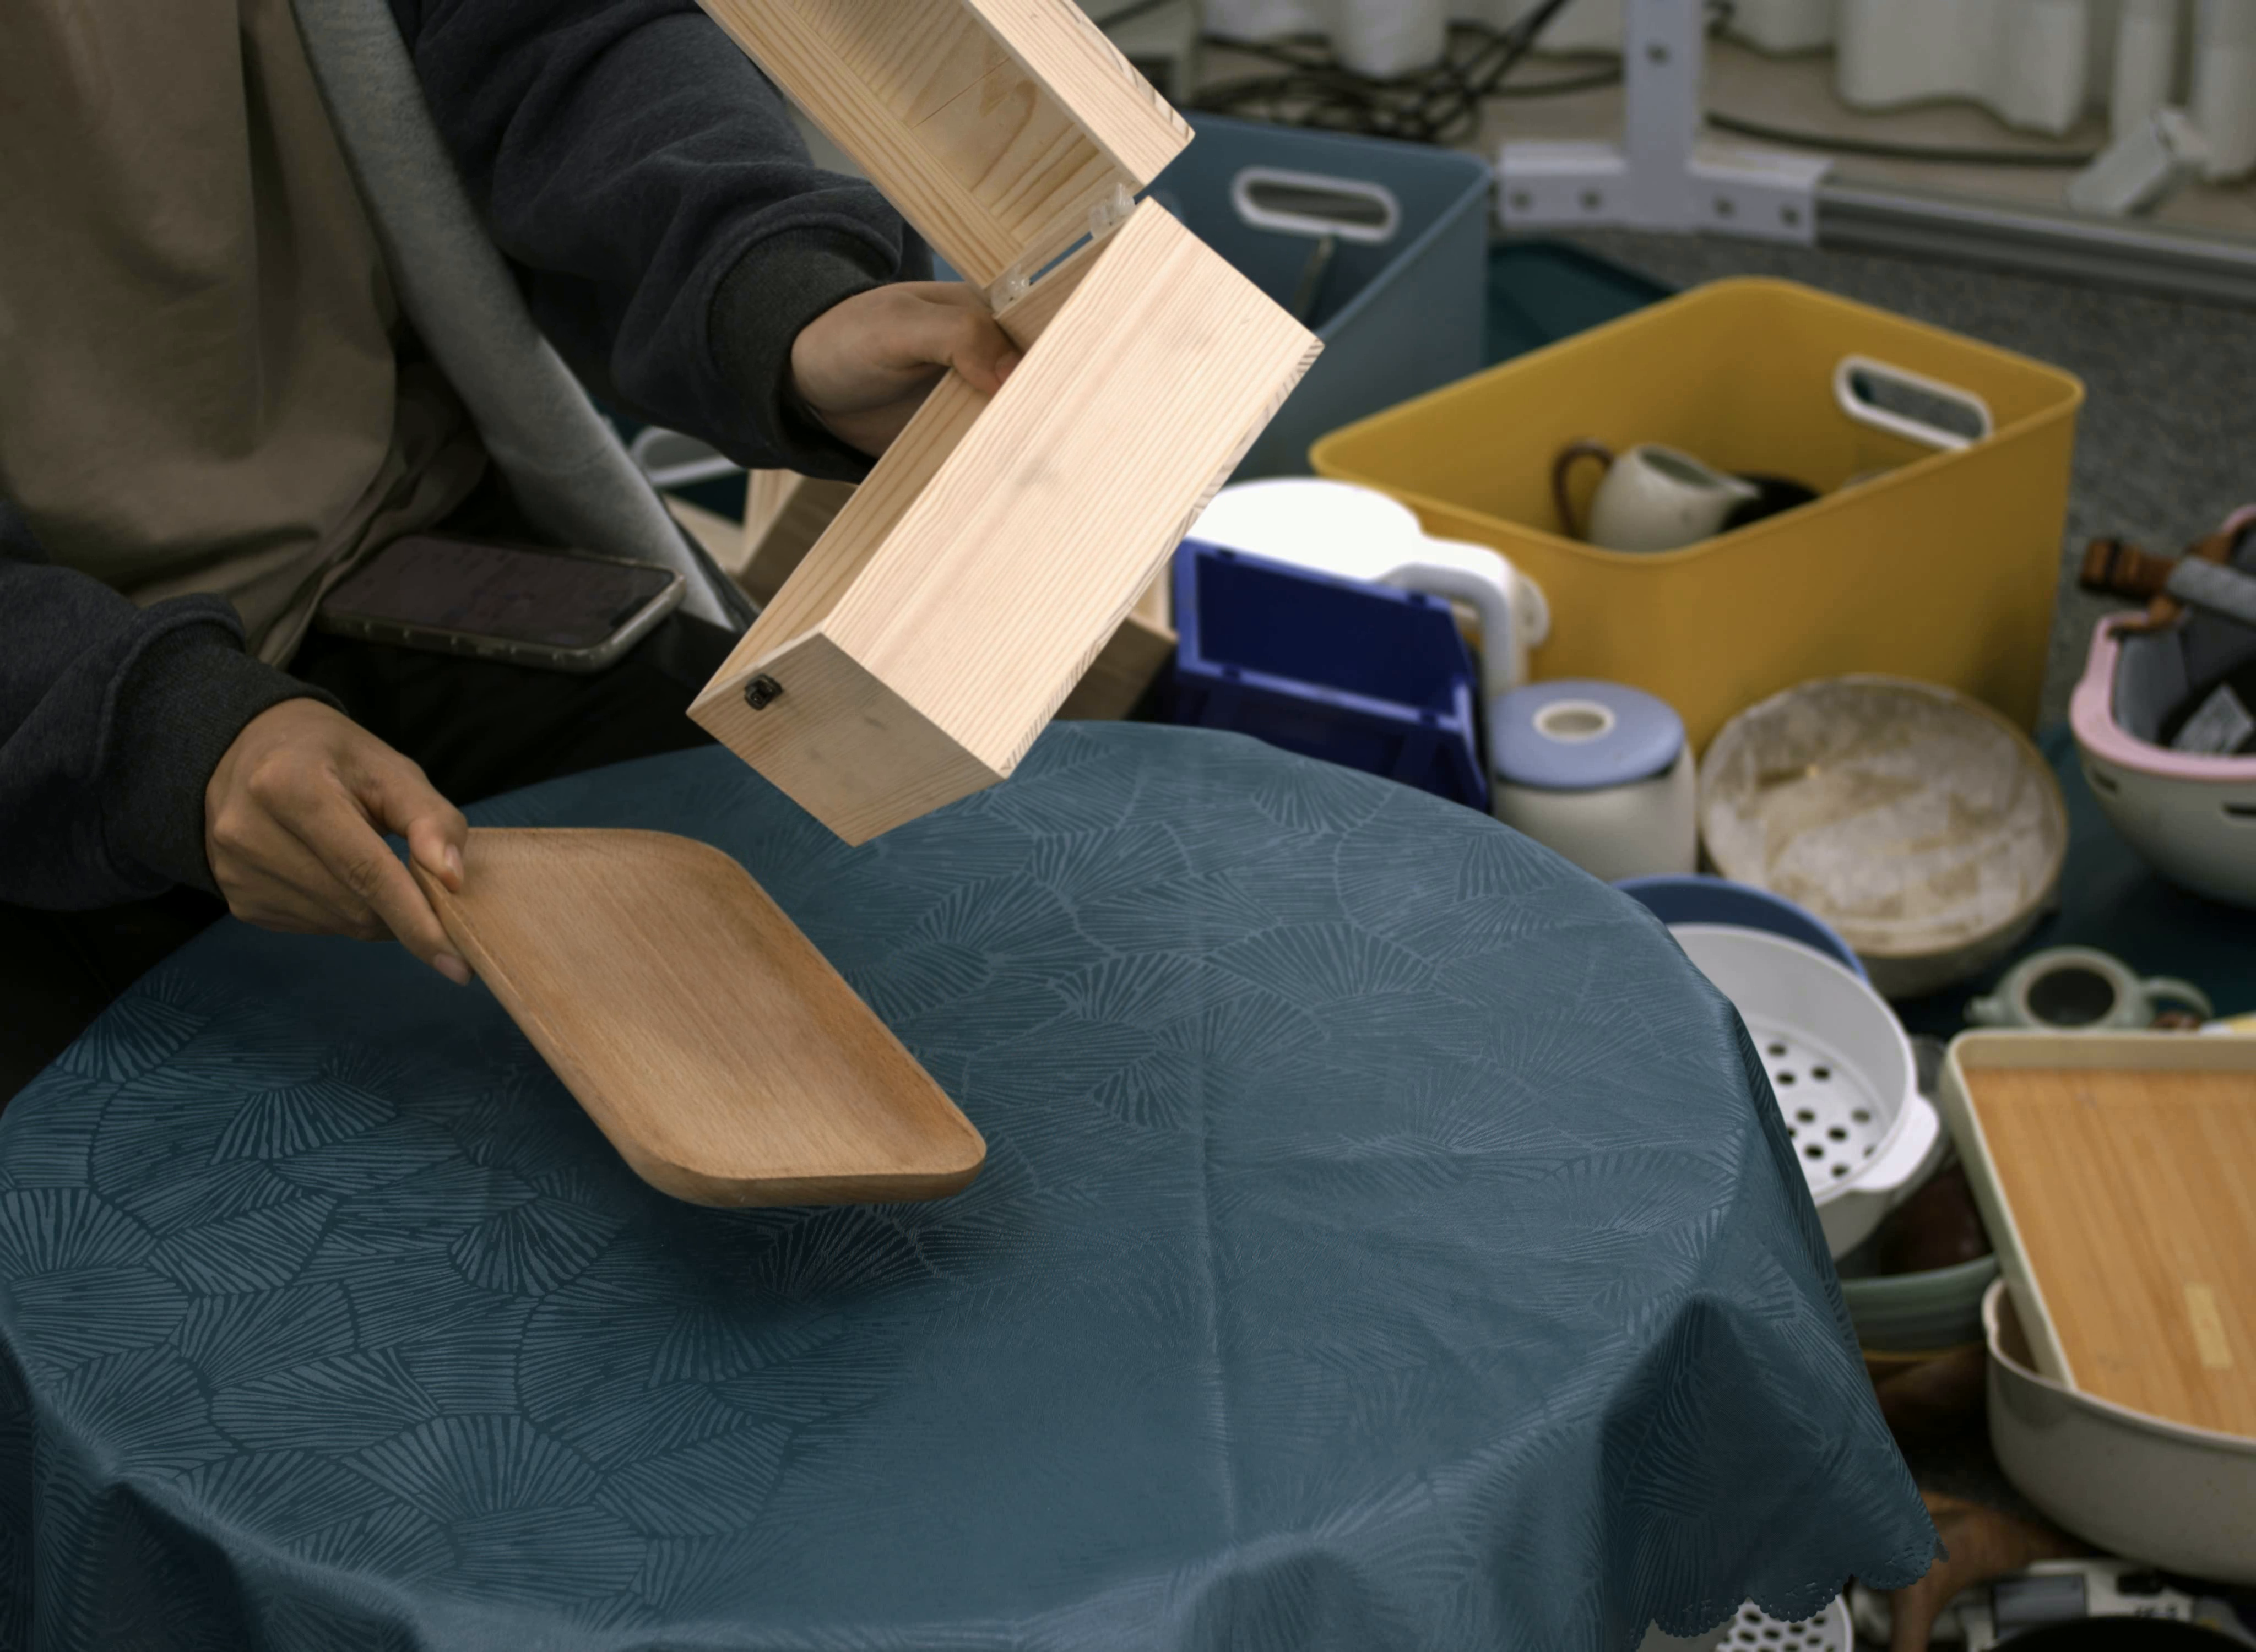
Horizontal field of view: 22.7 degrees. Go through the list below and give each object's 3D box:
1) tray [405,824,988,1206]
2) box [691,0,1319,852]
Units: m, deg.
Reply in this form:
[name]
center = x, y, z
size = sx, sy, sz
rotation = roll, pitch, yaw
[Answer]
[tray]
center = -0.148, 0.061, 1.880
size = 0.131, 0.022, 0.252
rotation = 4, 23, -31
[box]
center = -0.088, -0.176, 1.844
size = 0.268, 0.252, 0.180
rotation = -53, 7, -19
